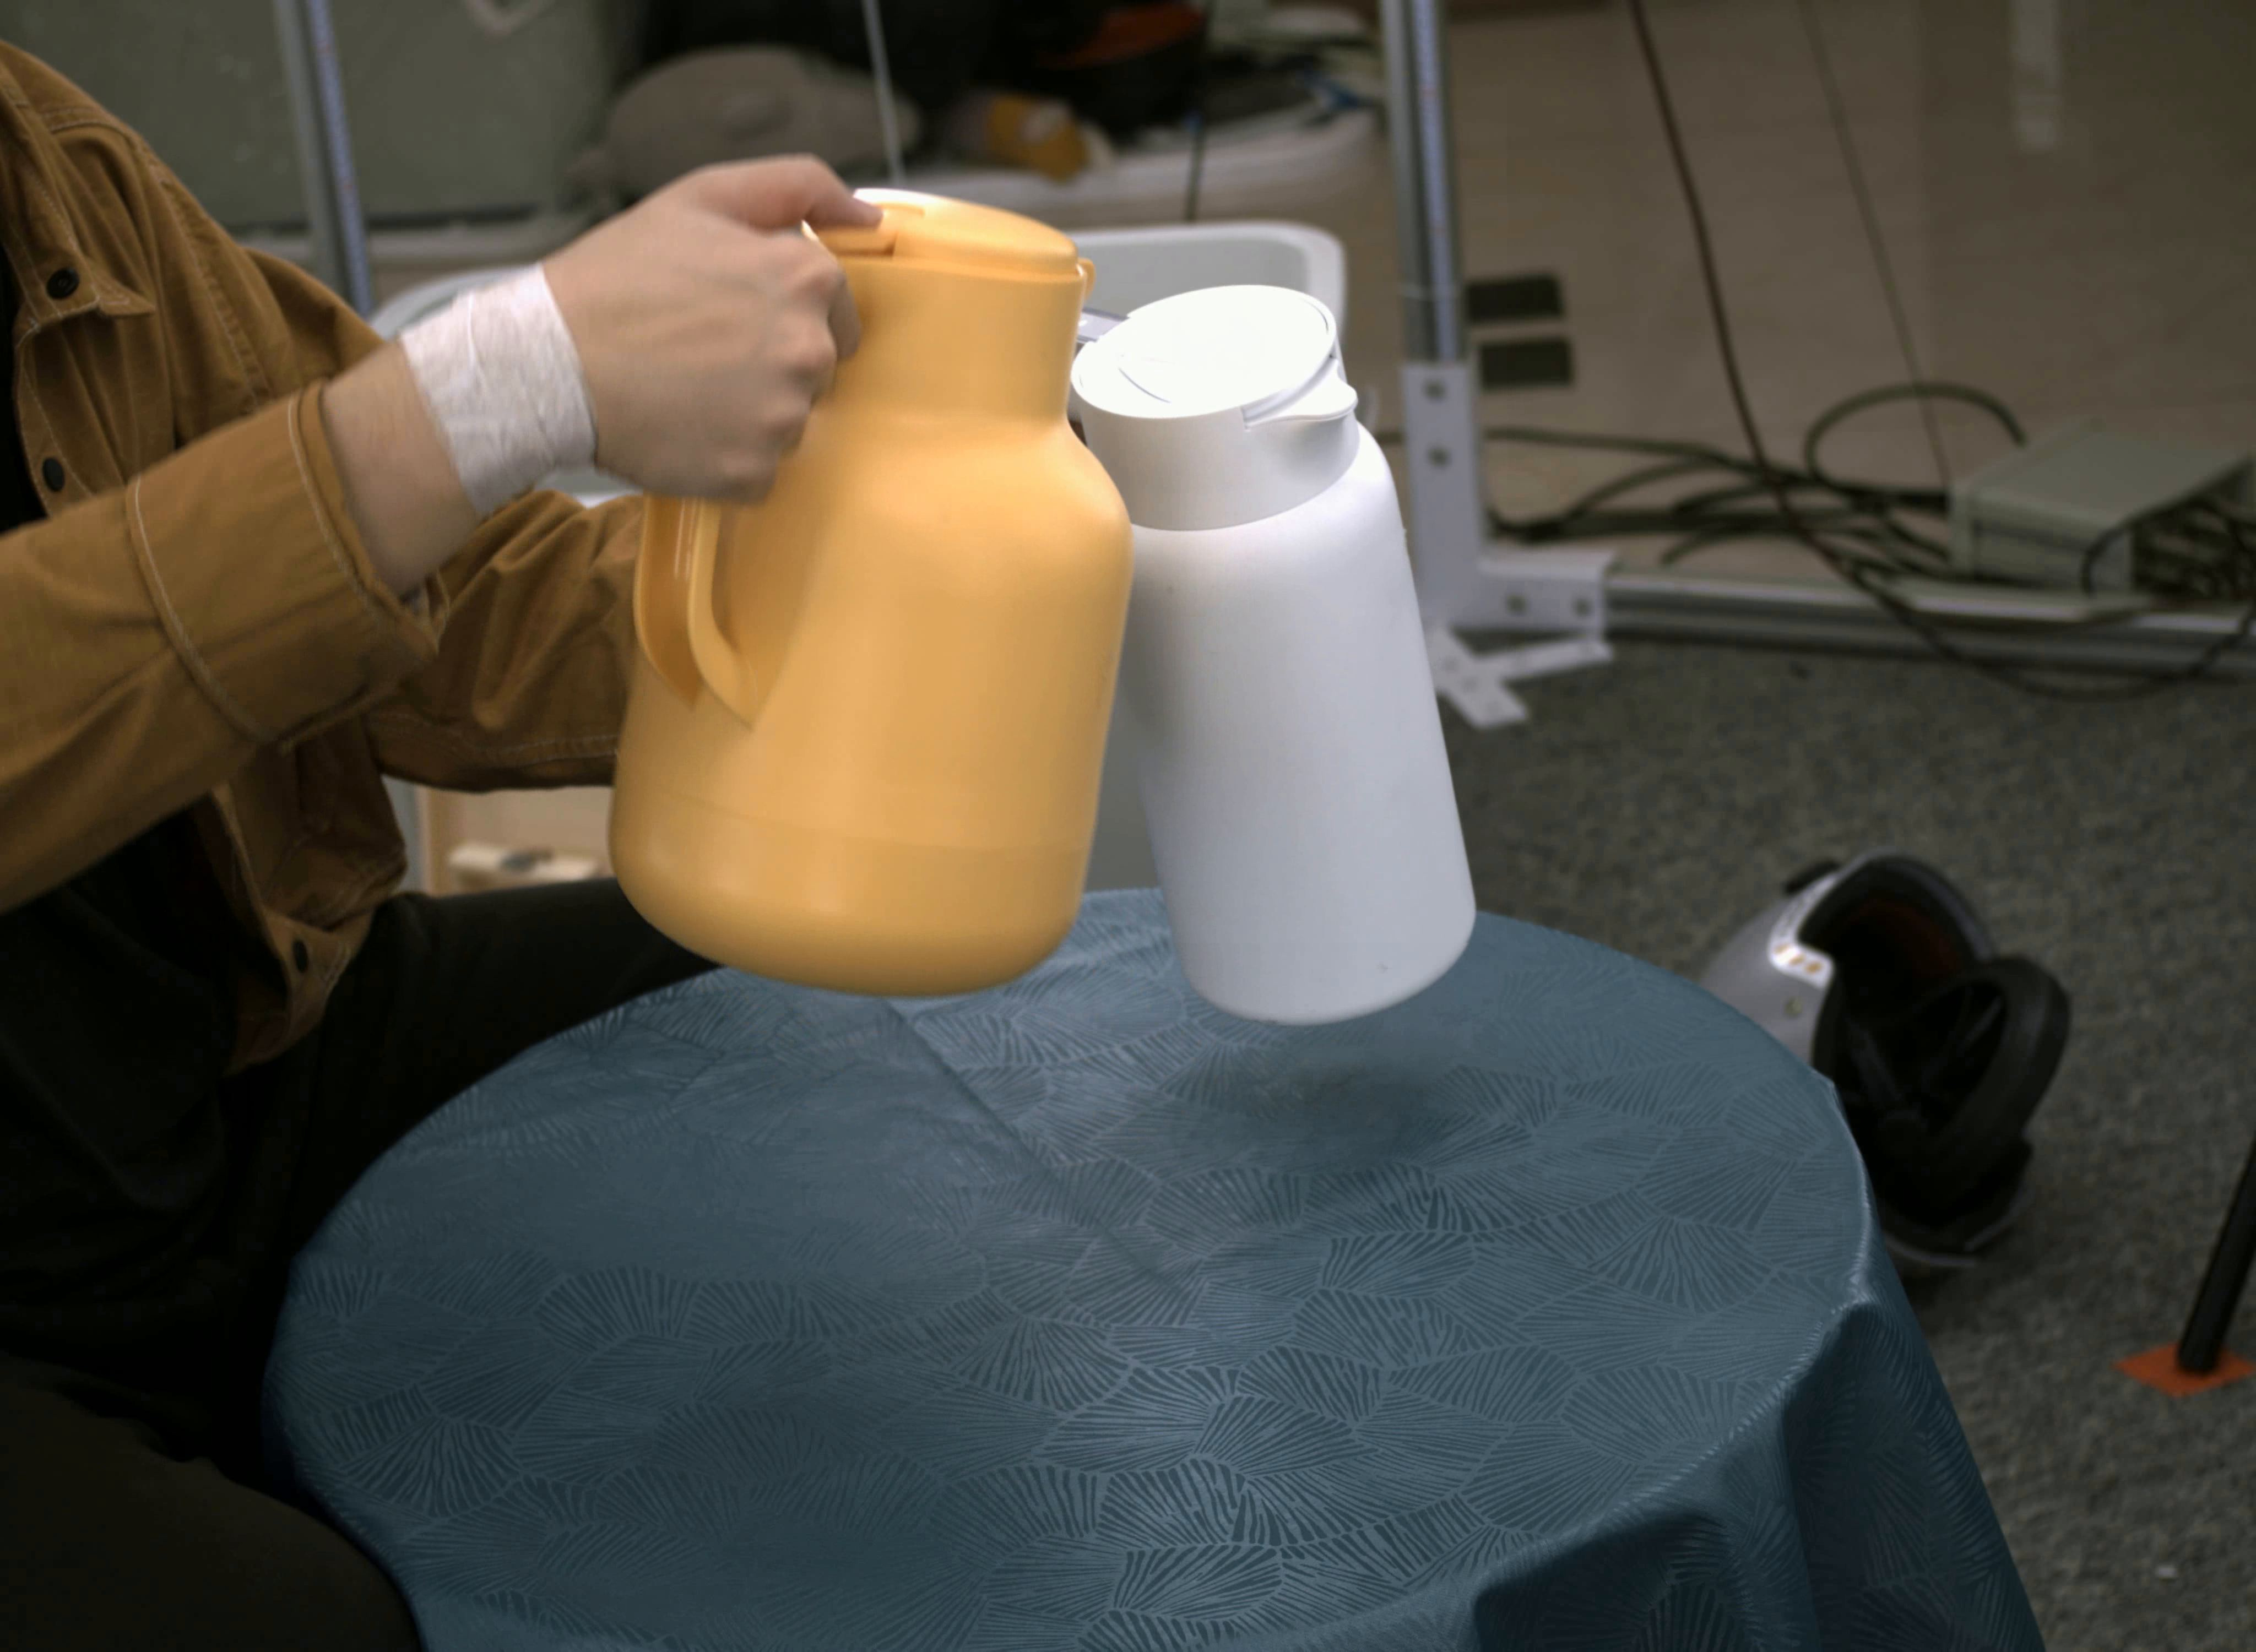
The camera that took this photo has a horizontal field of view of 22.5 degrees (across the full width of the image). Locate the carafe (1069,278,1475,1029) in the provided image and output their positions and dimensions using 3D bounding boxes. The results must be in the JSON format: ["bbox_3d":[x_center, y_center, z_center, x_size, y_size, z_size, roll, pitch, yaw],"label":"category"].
[{"bbox_3d":[0.039,-0.065,2.118,0.171,0.274,0.122,17,45,38],"label":"carafe"}]

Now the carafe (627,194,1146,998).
[{"bbox_3d":[-0.089,-0.079,1.885,0.162,0.262,0.202,15,13,36],"label":"carafe"}]
